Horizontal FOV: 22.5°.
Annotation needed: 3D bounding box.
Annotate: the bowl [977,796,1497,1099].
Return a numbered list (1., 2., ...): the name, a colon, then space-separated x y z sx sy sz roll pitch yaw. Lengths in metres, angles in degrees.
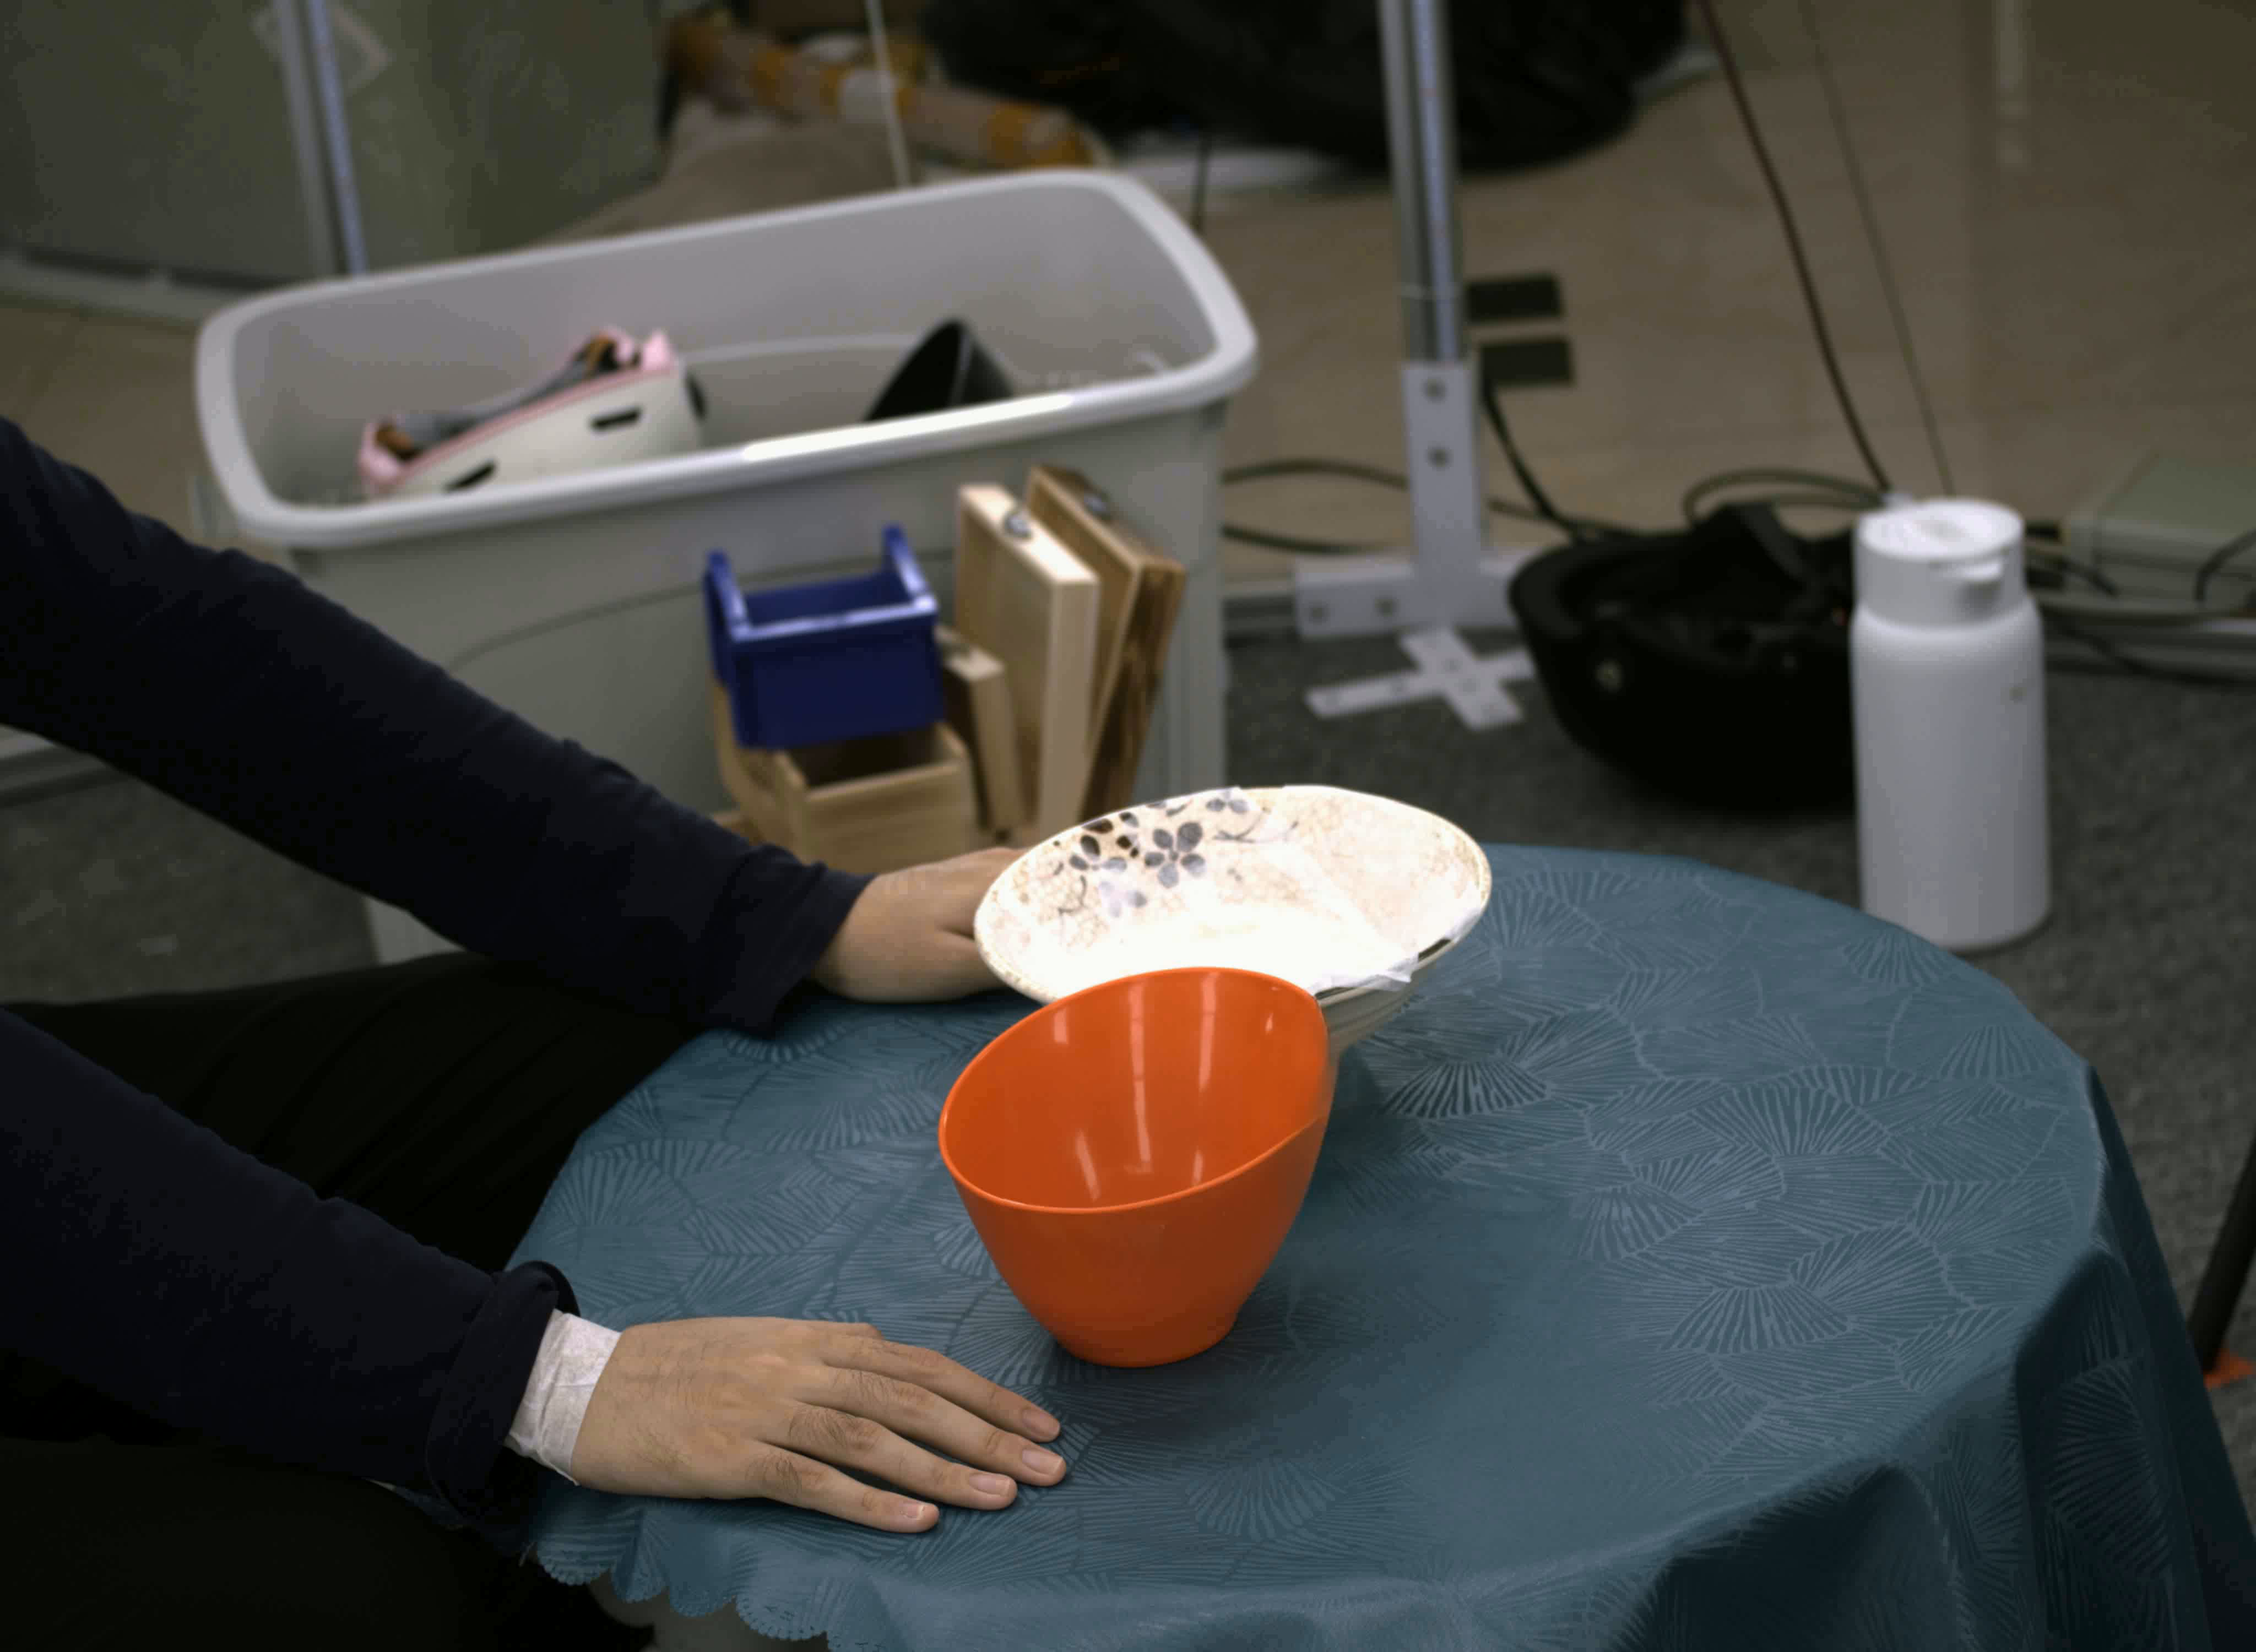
1. bowl: 0.046 0.062 2.214 0.204 0.079 0.201 -6 23 3

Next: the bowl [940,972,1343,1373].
1. bowl: 0.010 0.132 2.046 0.148 0.106 0.146 -7 26 3
